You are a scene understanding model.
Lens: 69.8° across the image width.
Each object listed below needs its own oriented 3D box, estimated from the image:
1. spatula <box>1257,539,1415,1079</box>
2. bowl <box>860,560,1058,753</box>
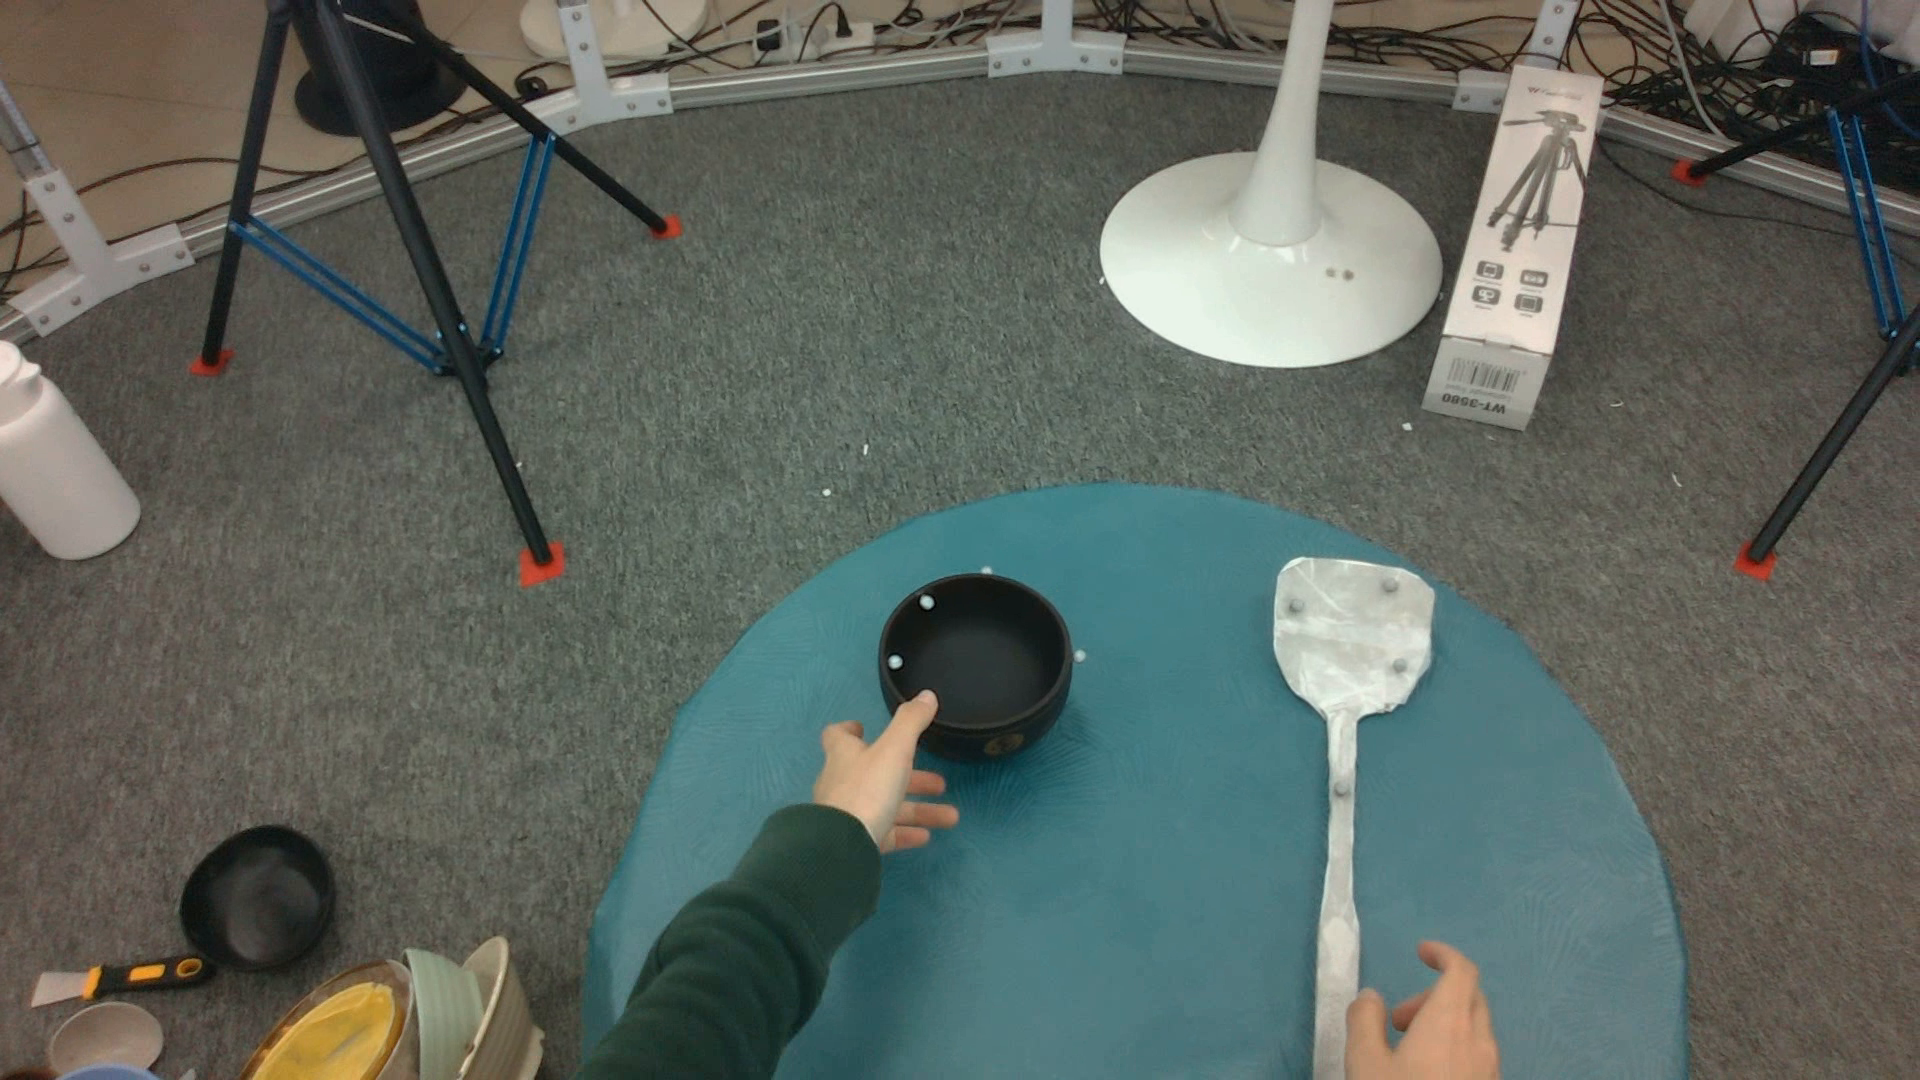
[{"bbox_3d":[0.207,0.152,0.793,0.098,0.044,0.367,11,51,7],"label":"spatula"},{"bbox_3d":[0.000,0.077,0.837,0.118,0.069,0.118,-1,52,1],"label":"bowl"}]
